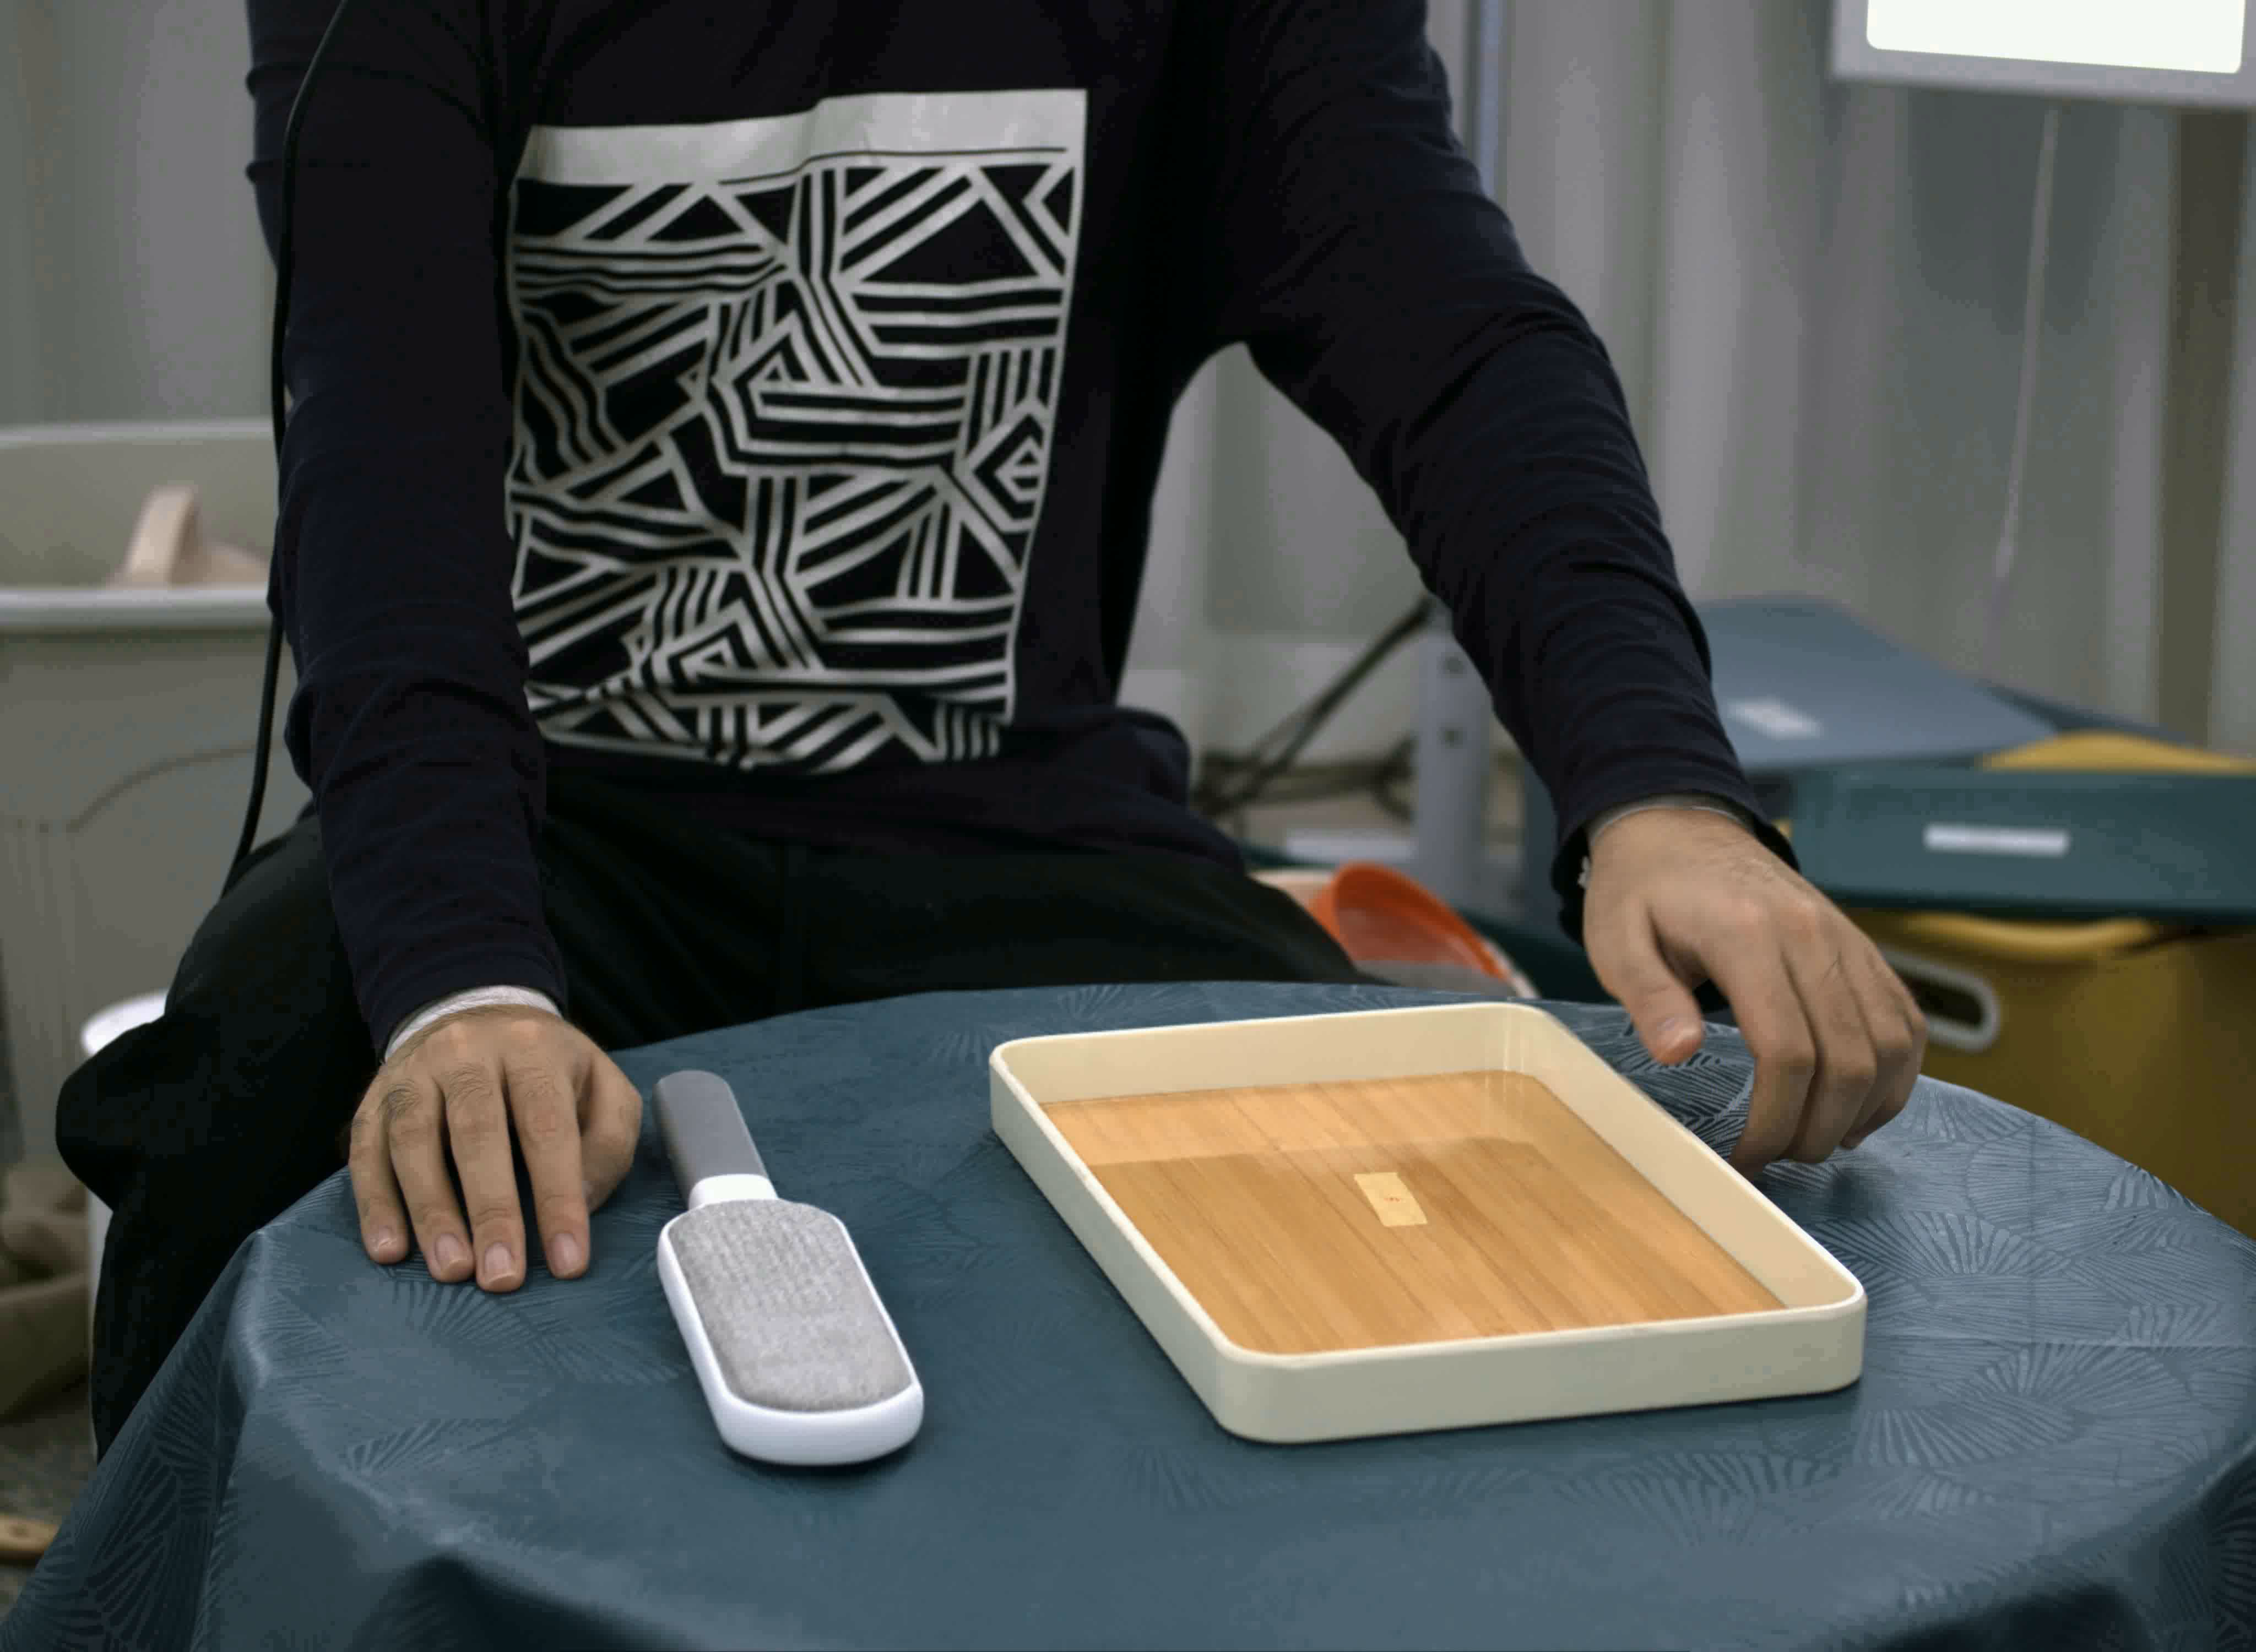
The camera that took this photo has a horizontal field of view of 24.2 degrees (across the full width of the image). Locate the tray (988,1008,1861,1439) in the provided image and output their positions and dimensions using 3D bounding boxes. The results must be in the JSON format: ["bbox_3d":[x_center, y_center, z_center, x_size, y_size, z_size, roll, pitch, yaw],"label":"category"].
[{"bbox_3d":[0.080,0.113,1.576,0.192,0.027,0.297,-3,15,-14],"label":"tray"}]

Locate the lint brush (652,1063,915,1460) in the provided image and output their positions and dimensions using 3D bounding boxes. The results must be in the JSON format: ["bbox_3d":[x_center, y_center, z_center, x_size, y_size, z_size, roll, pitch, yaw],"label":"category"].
[{"bbox_3d":[-0.109,0.122,1.536,0.060,0.021,0.306,-8,16,-10],"label":"lint brush"}]
